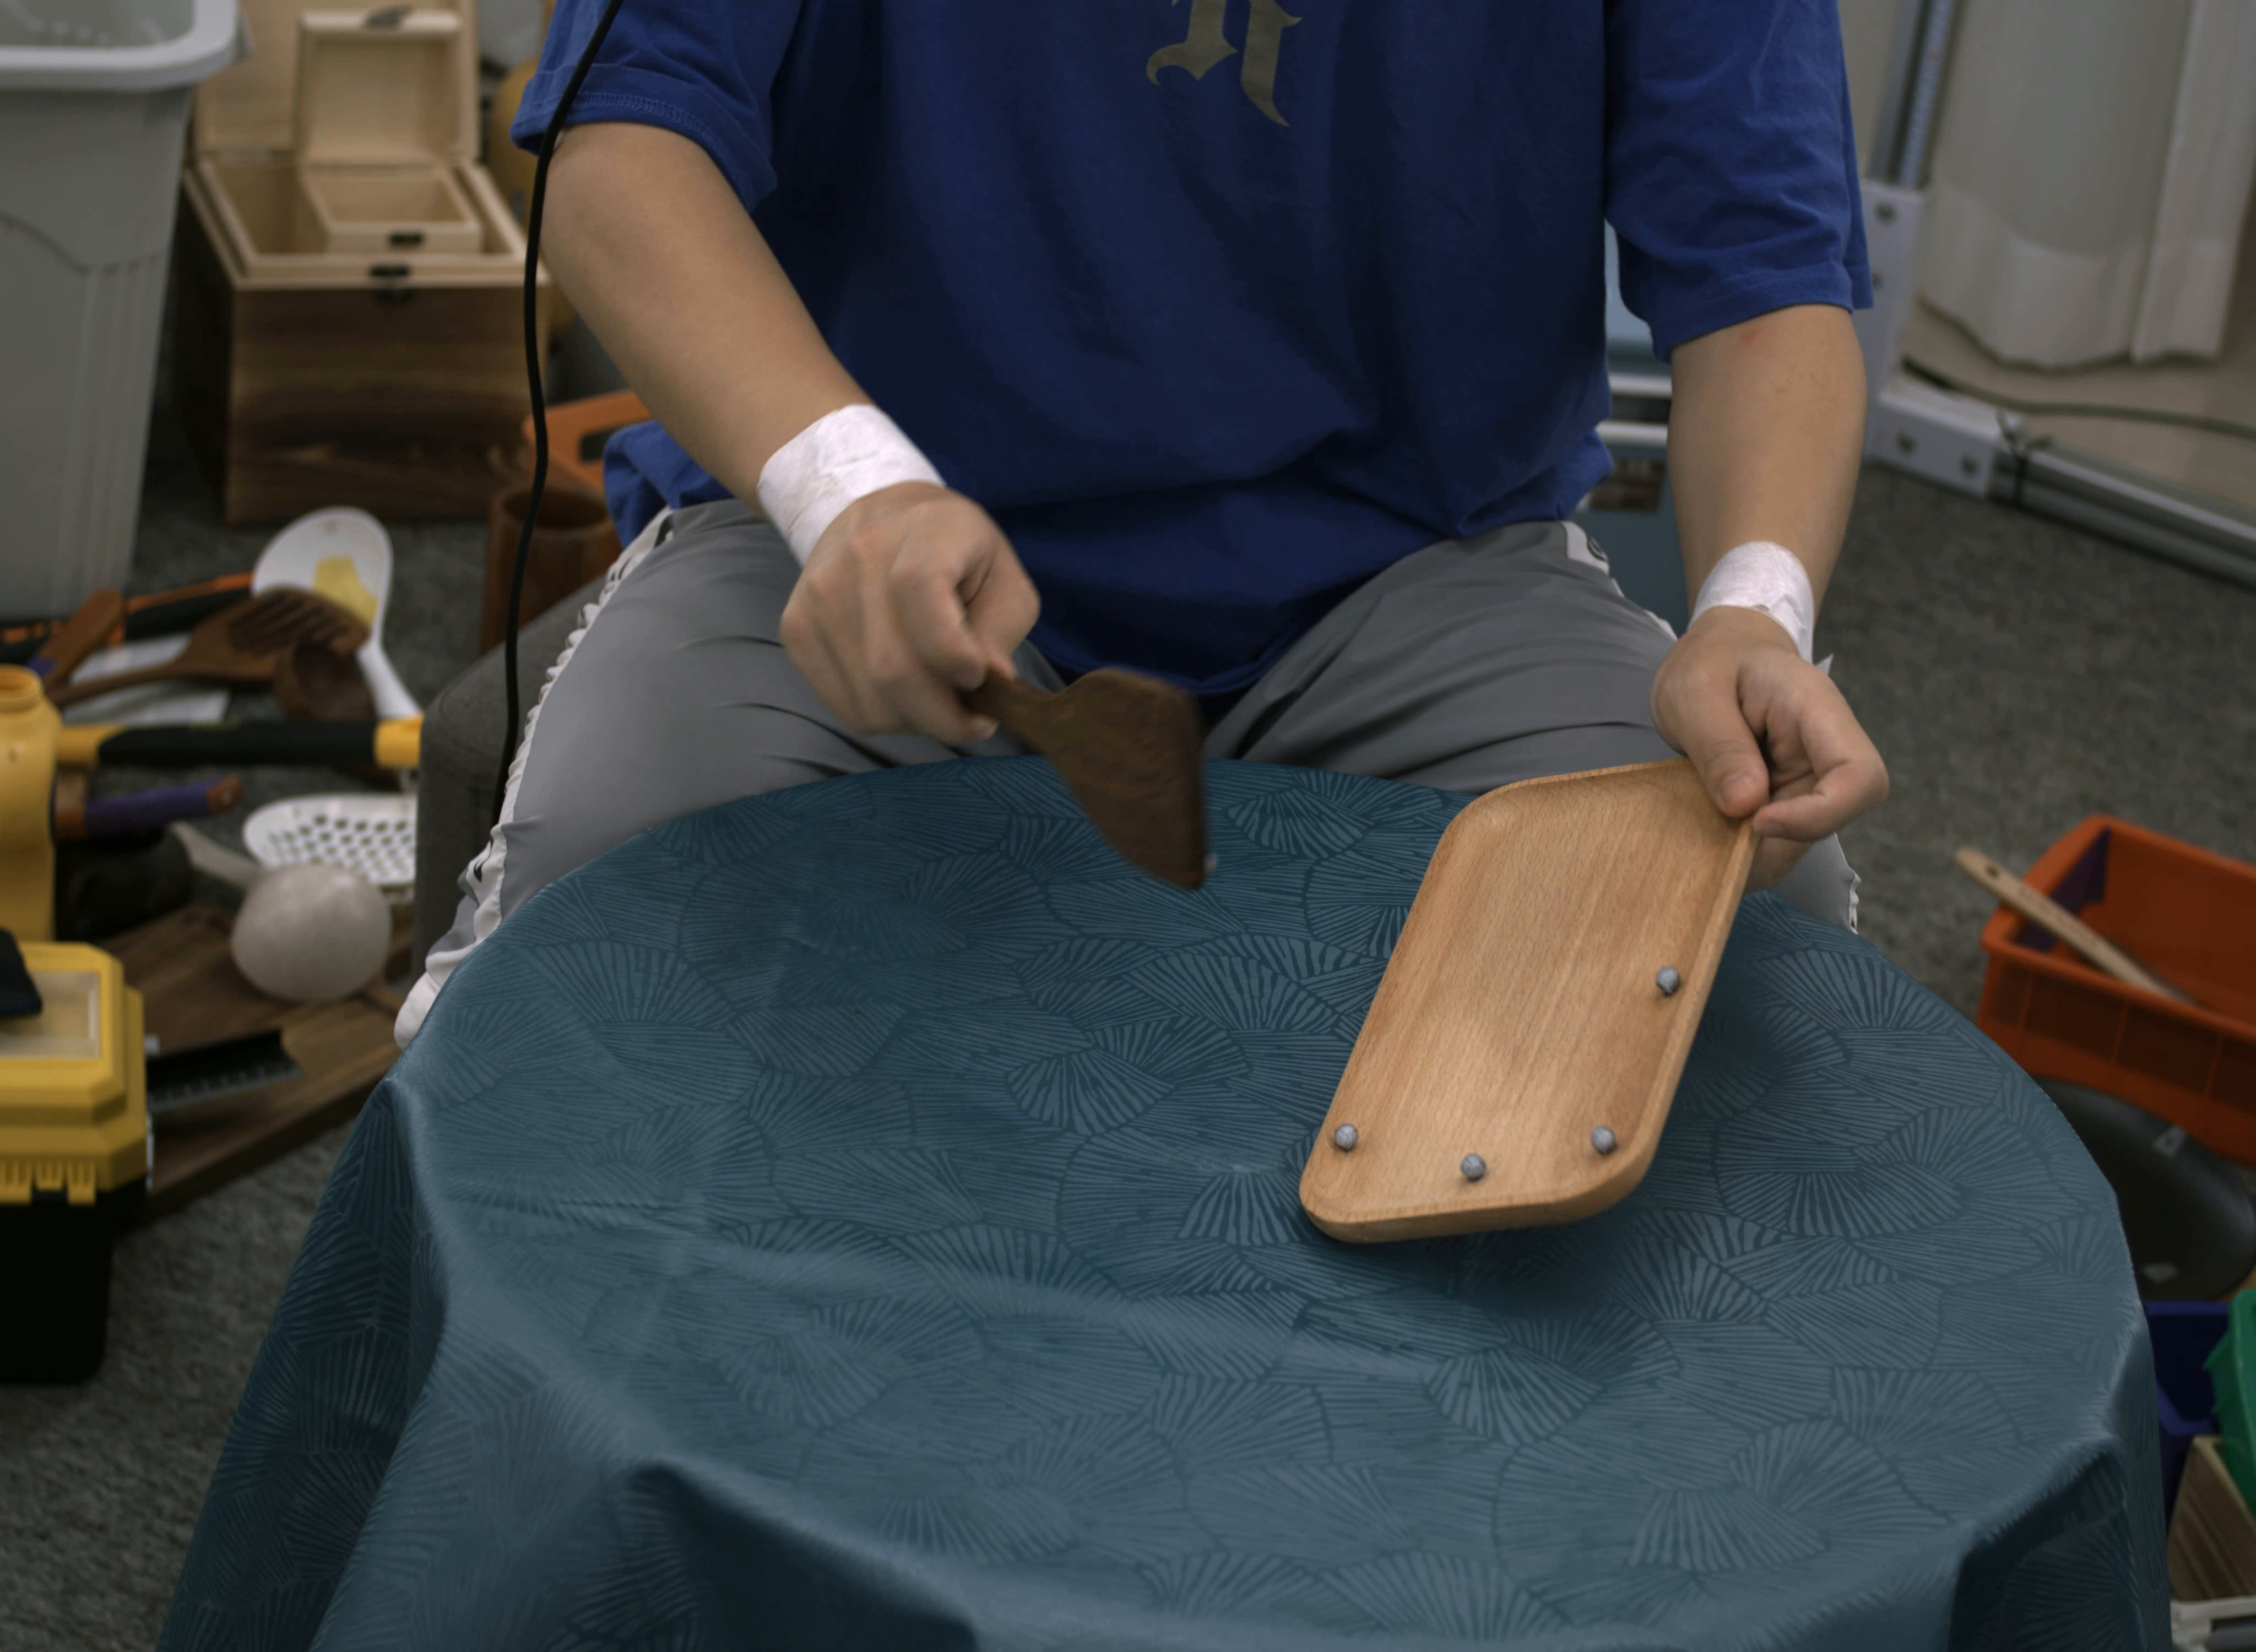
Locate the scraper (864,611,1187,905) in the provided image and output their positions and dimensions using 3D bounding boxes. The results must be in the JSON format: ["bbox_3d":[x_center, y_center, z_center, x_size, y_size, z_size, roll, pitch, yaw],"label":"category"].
[{"bbox_3d":[-0.039,-0.035,1.831,0.011,0.075,0.213,-18,26,-26],"label":"scraper"}]

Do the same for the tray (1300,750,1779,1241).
[{"bbox_3d":[0.146,0.057,1.851,0.131,0.023,0.251,-4,35,26],"label":"tray"}]
